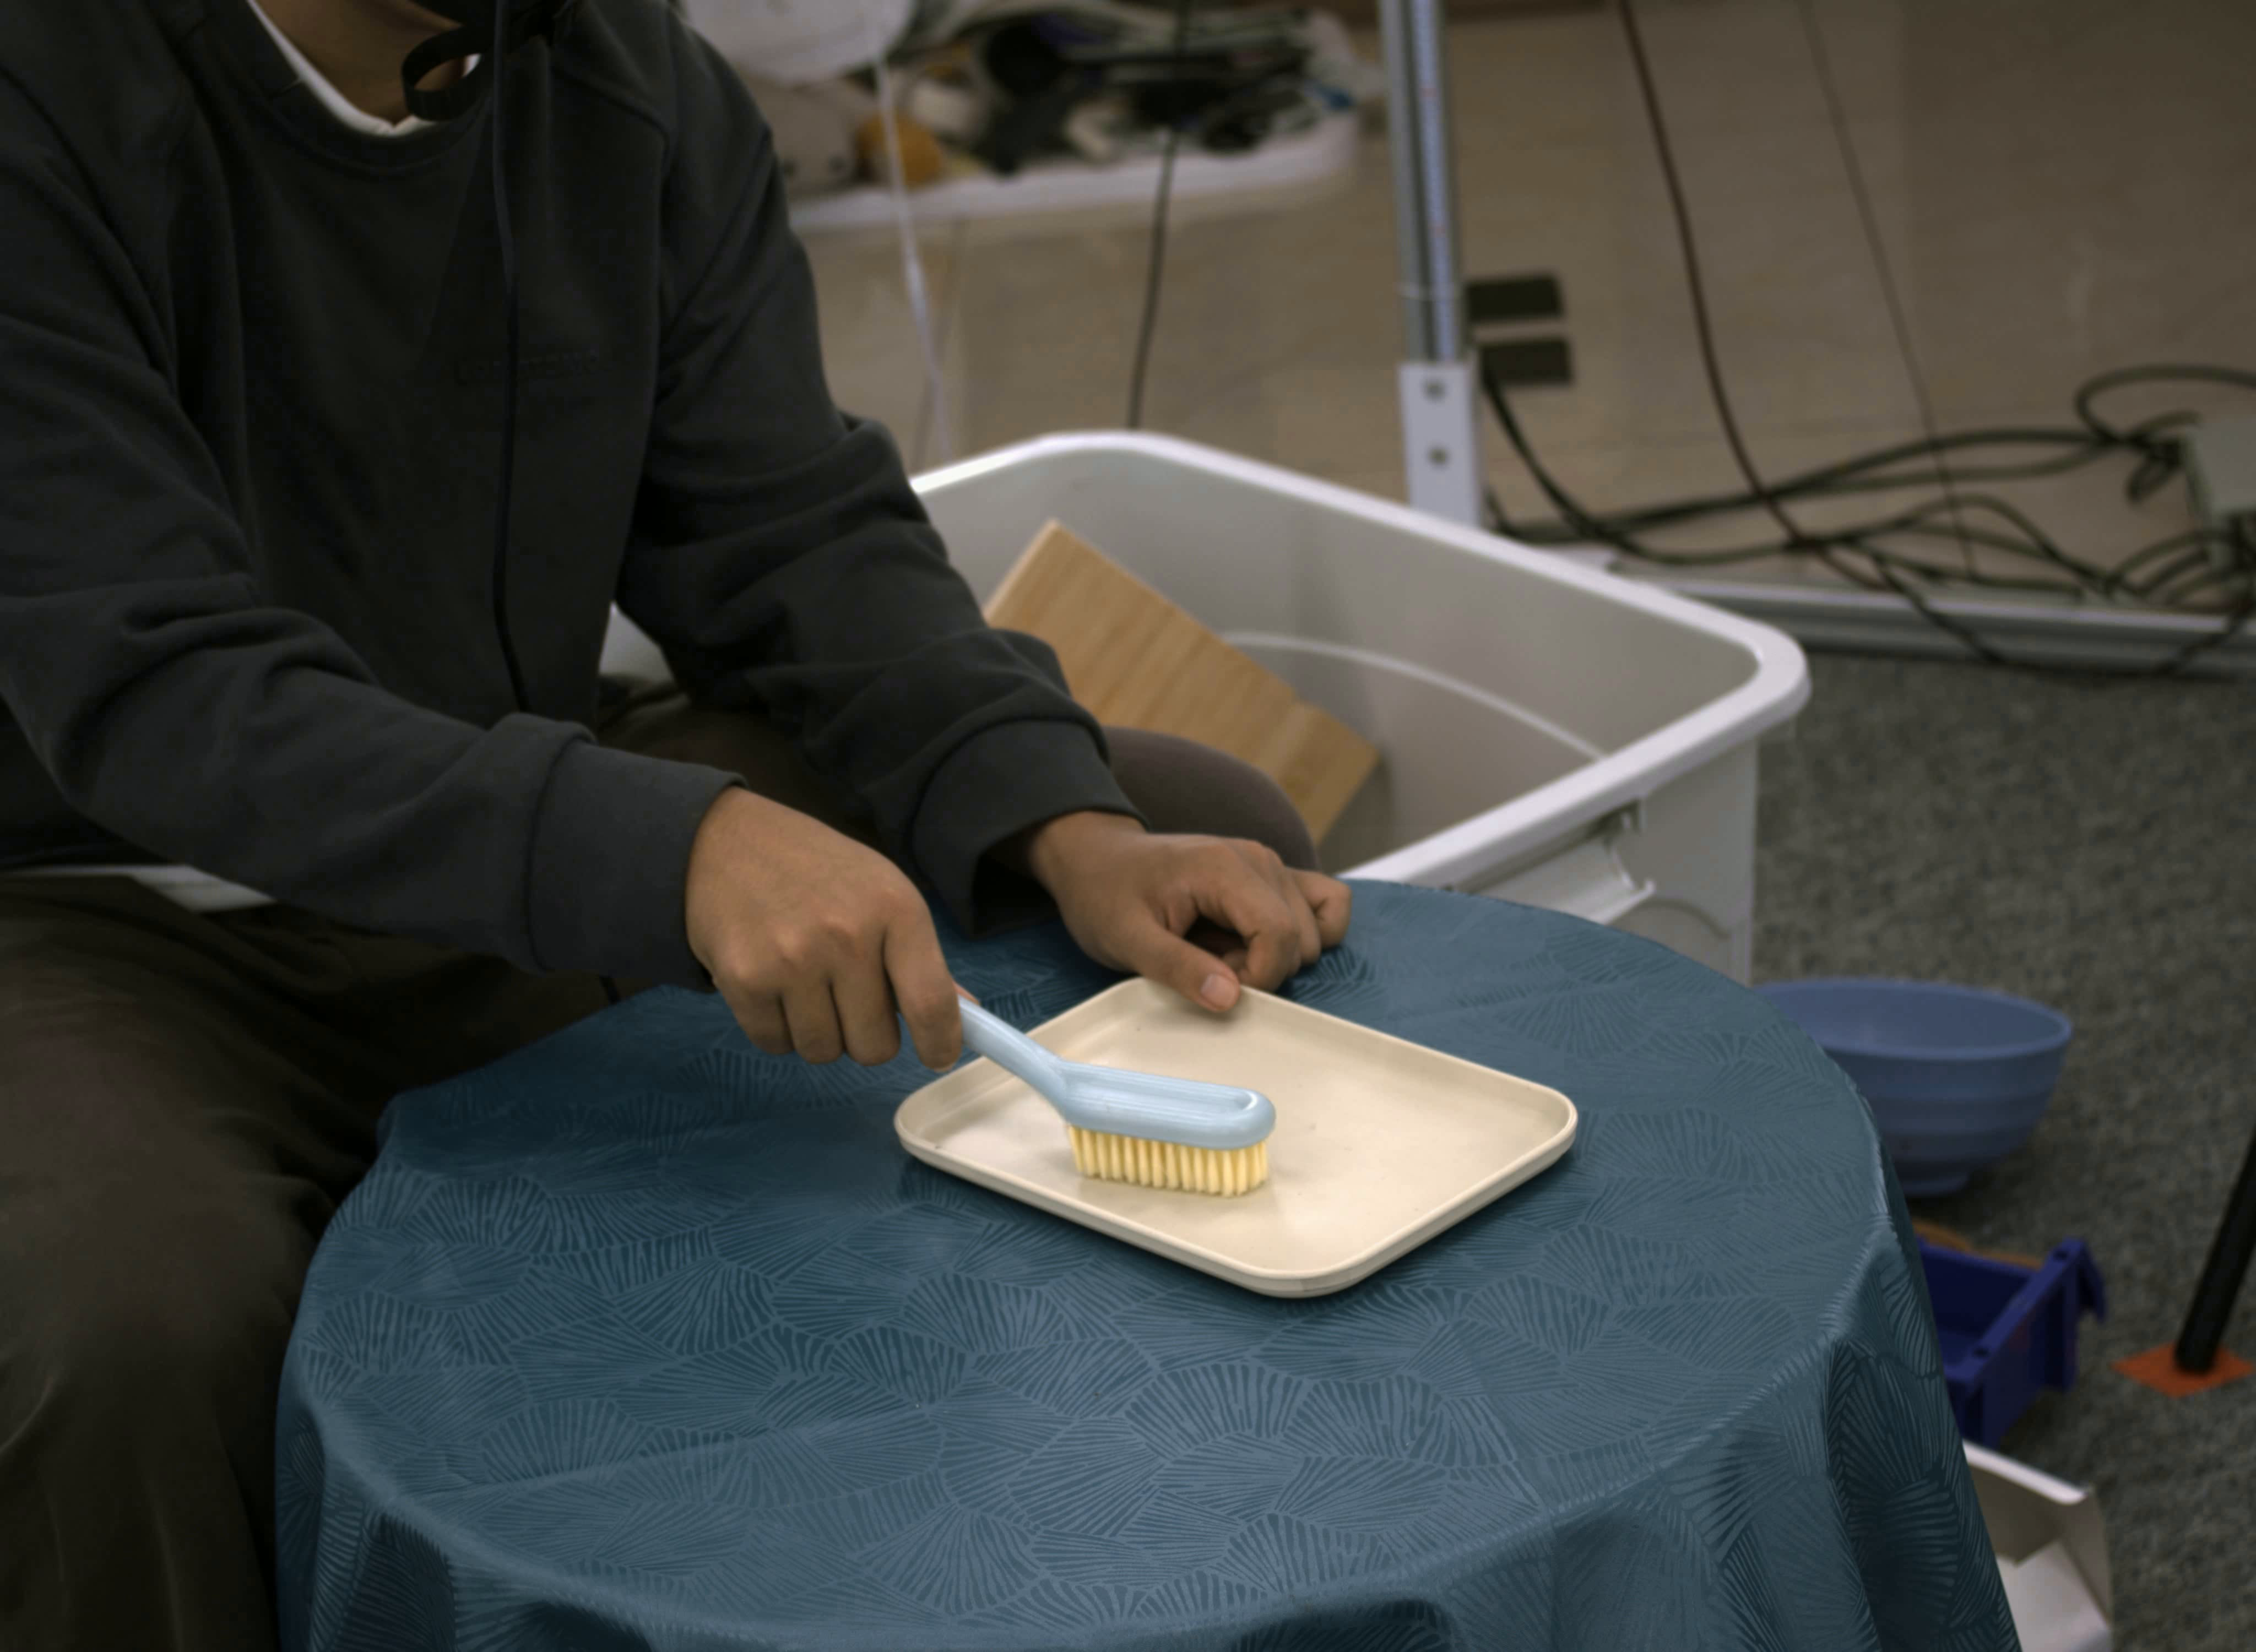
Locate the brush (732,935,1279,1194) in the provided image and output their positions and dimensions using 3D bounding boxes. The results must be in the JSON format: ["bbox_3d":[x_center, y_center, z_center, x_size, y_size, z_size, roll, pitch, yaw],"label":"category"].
[{"bbox_3d":[-0.050,0.091,2.165,0.227,0.050,0.037,20,31,17],"label":"brush"}]

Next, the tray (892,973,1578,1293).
[{"bbox_3d":[0.040,0.116,2.165,0.170,0.018,0.238,-26,31,-38],"label":"tray"}]
